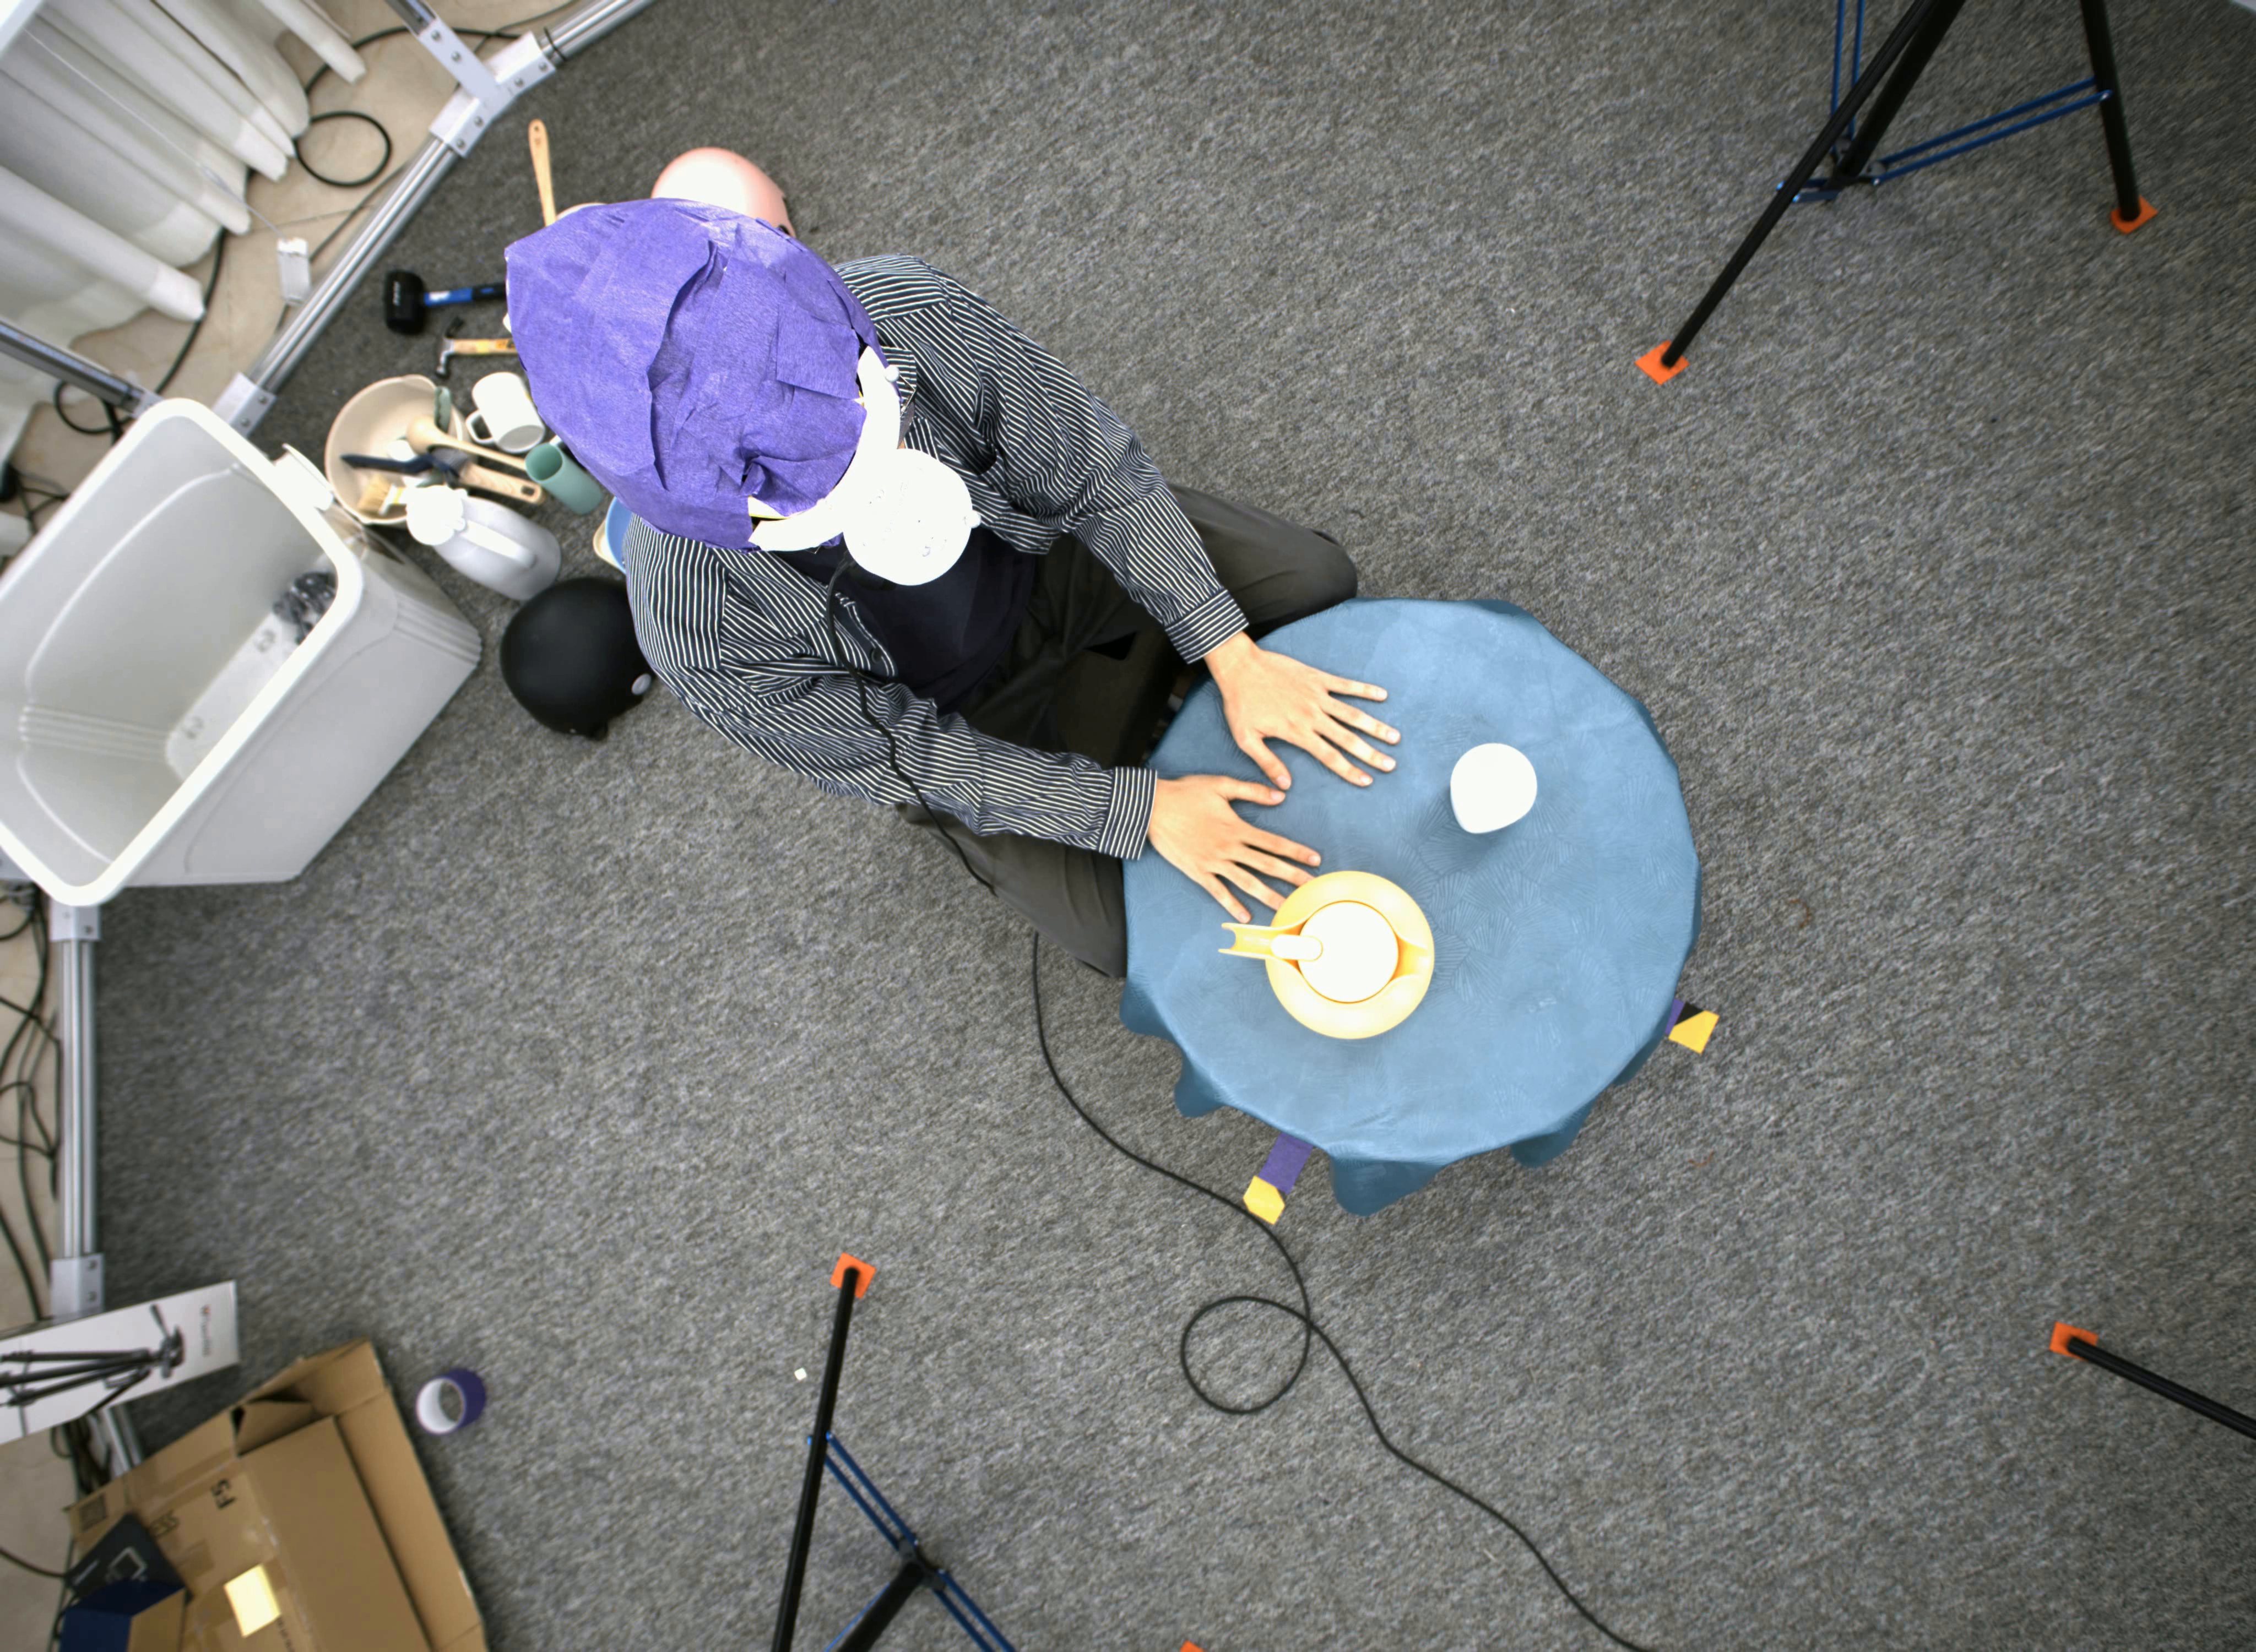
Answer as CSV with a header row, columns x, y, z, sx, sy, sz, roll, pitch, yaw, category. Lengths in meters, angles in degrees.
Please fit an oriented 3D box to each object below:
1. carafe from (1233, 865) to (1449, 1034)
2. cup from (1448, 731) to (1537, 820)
x,y,z,sx,sy,sz,roll,pitch,yaw,category
0.206,0.114,1.327,0.203,0.261,0.162,4,85,10,carafe
0.359,-0.048,1.372,0.082,0.125,0.081,-1,86,10,cup
